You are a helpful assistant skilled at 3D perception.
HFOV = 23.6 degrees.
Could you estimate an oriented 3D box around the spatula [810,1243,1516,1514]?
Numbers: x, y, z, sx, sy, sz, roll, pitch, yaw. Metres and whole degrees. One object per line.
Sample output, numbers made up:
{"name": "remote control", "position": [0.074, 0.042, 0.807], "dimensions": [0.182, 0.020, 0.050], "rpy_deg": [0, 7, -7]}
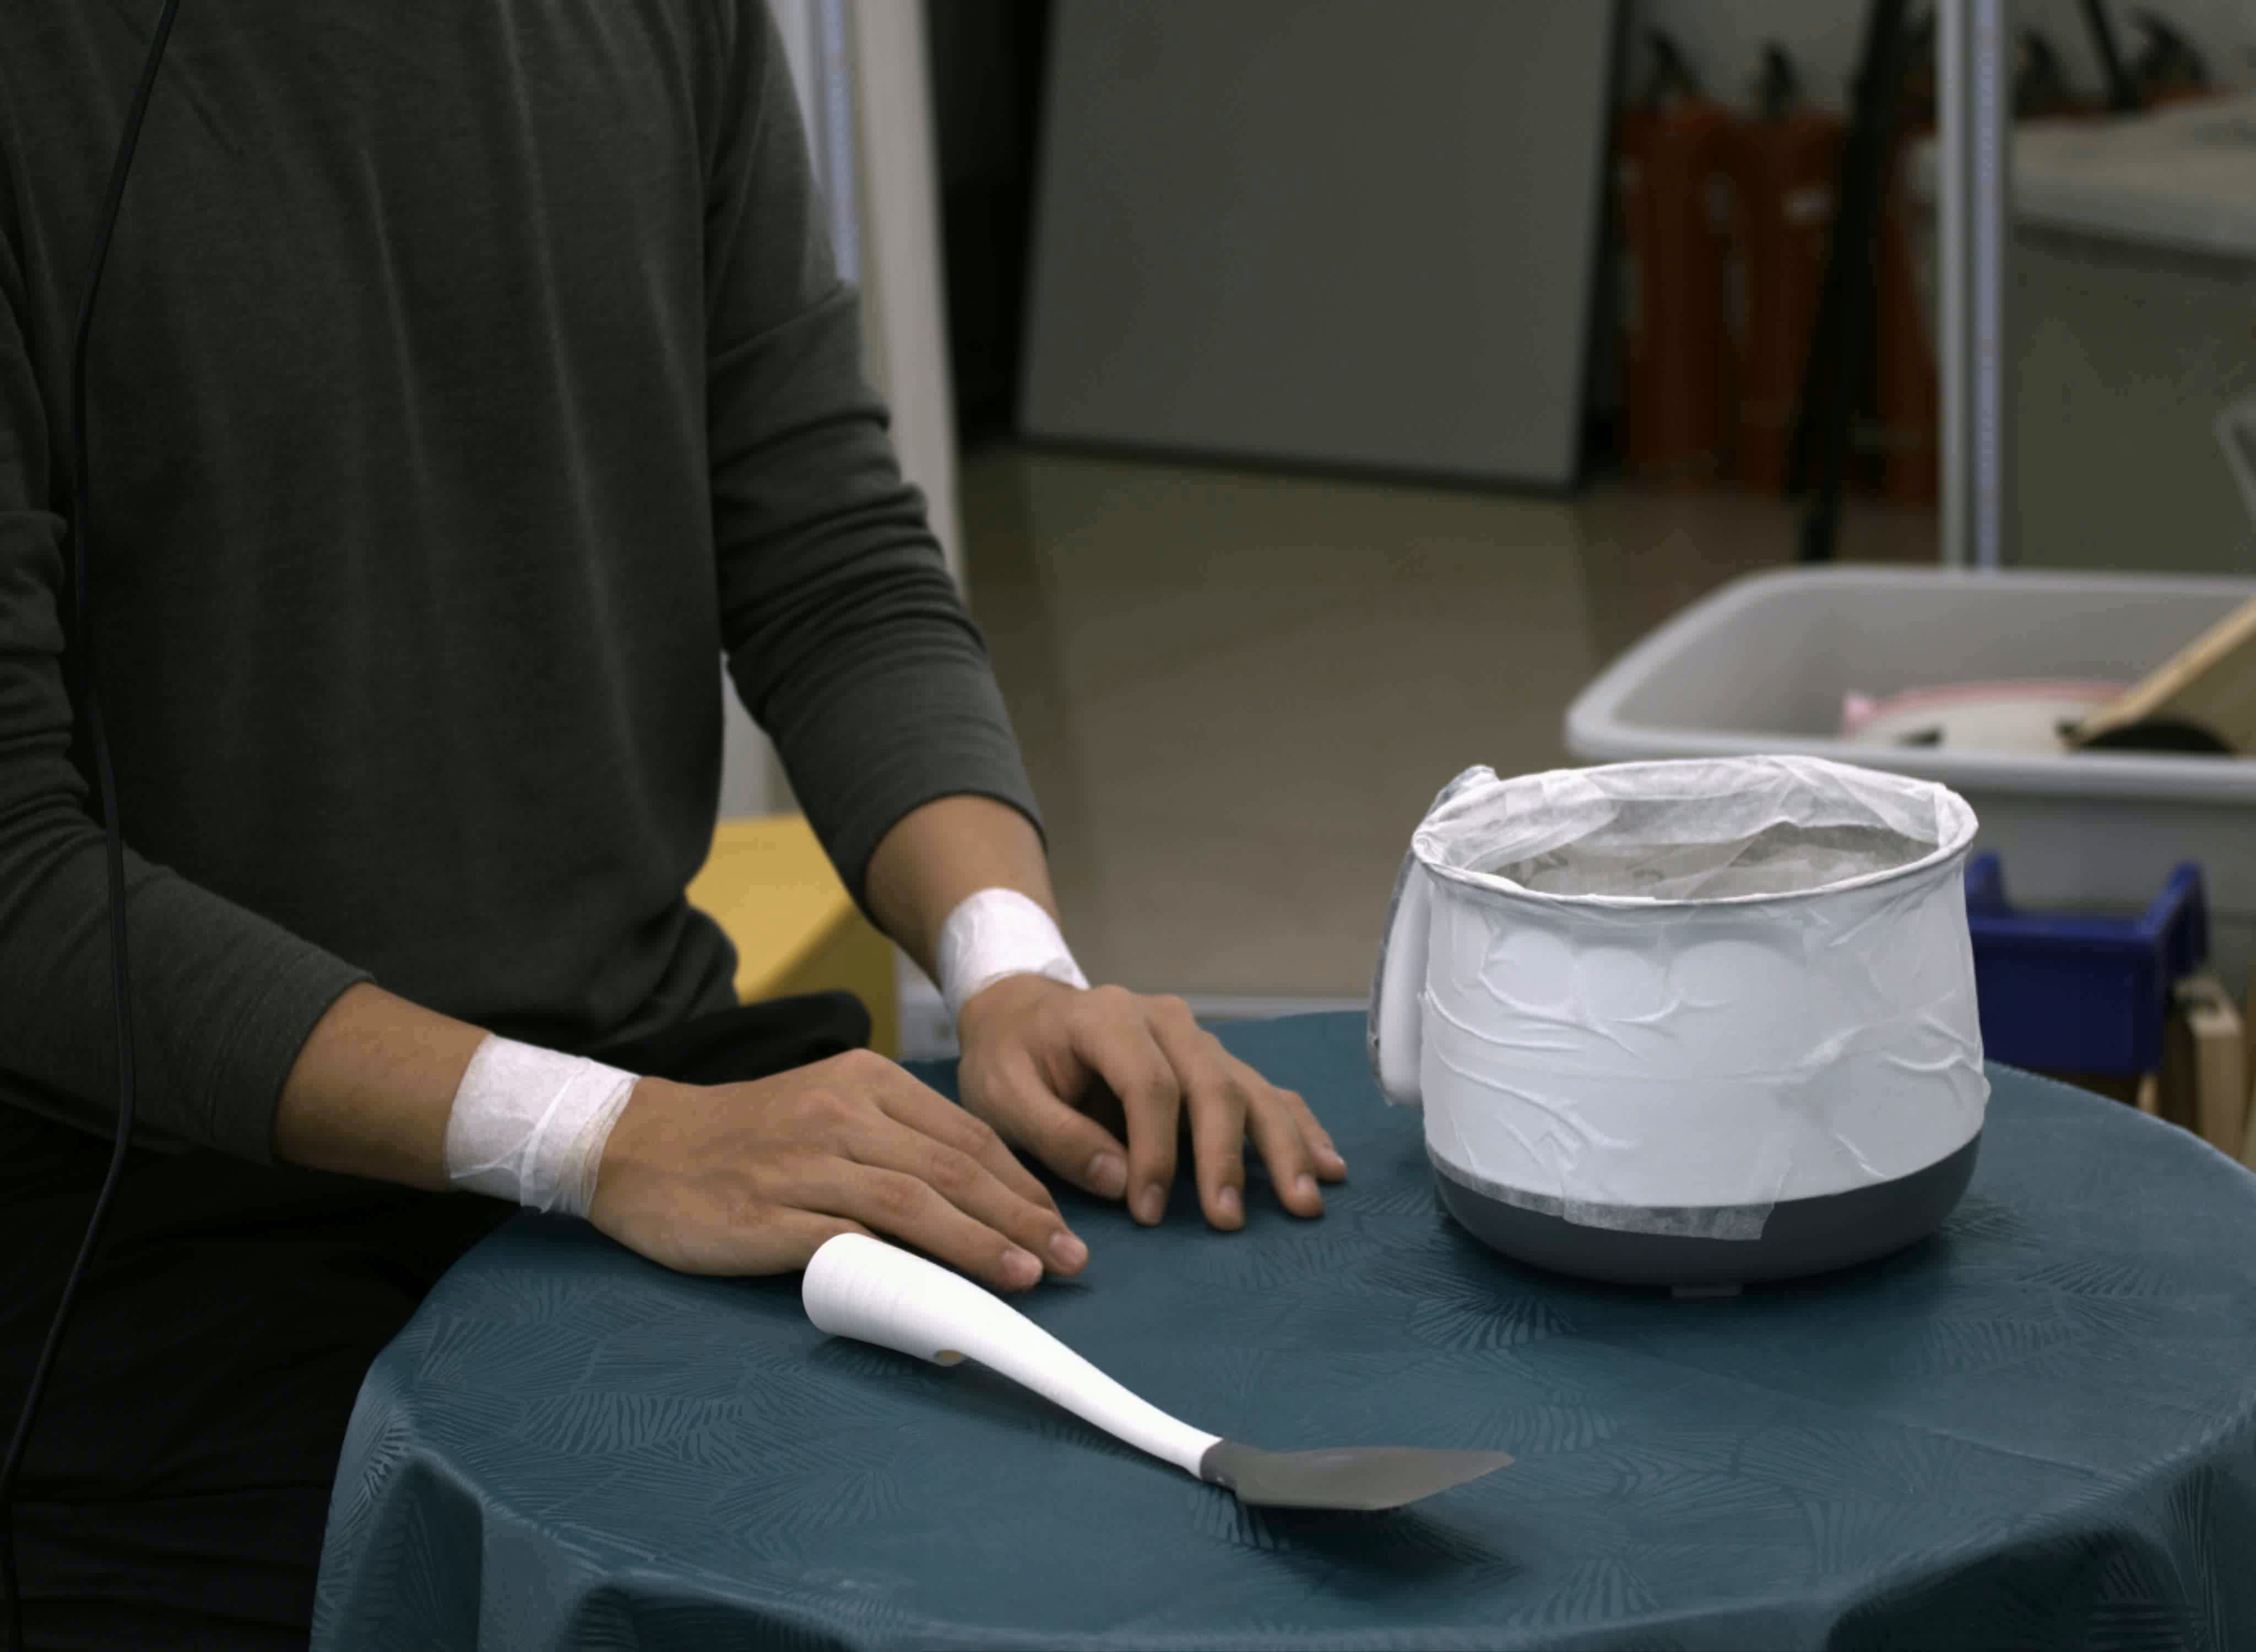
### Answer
{"name": "spatula", "position": [0.002, 0.162, 1.535], "dimensions": [0.057, 0.032, 0.290], "rpy_deg": [-9, 13, -35]}

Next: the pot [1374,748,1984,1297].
{"name": "pot", "position": [0.161, 0.056, 1.704], "dimensions": [0.175, 0.138, 0.236], "rpy_deg": [-14, 16, -37]}
